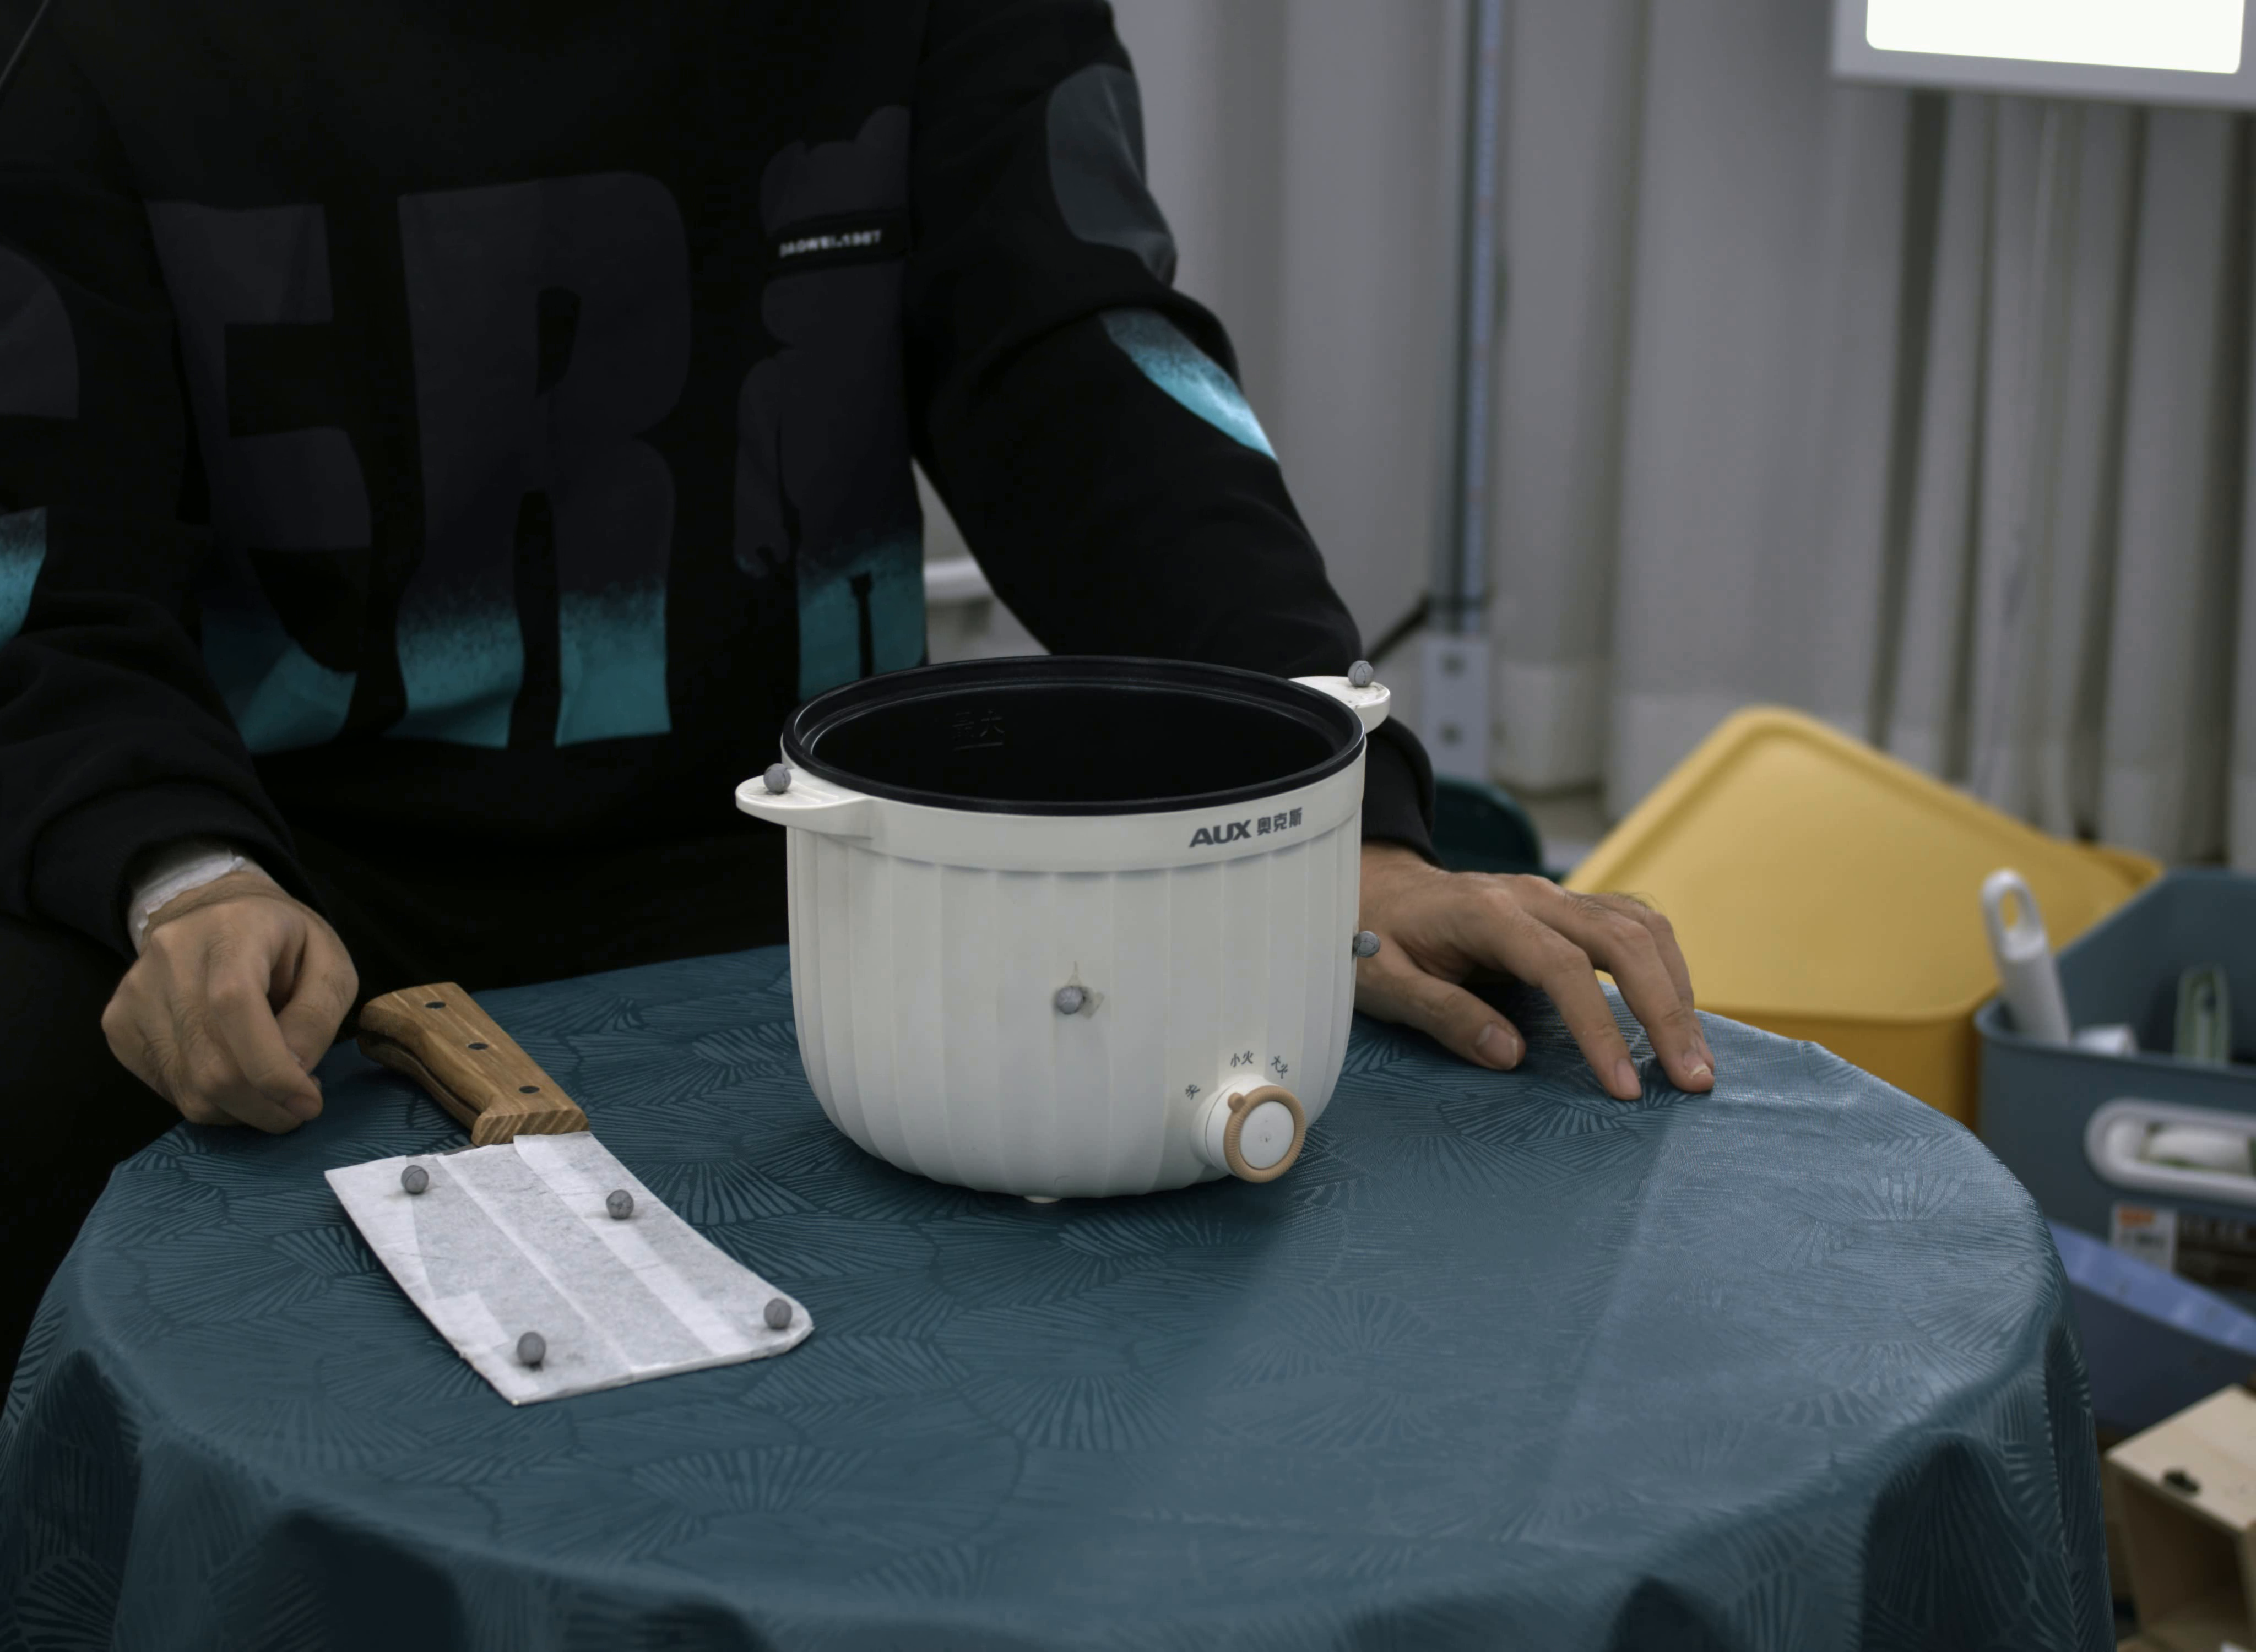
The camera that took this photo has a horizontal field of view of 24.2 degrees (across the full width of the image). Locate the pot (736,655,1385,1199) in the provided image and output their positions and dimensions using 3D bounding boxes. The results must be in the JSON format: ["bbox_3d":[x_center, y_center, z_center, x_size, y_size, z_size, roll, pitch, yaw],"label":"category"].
[{"bbox_3d":[-0.013,0.033,1.647,0.241,0.144,0.188,-12,17,-35],"label":"pot"}]

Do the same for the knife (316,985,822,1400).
[{"bbox_3d":[-0.185,0.108,1.599,0.114,0.022,0.311,-6,19,-21],"label":"knife"}]
